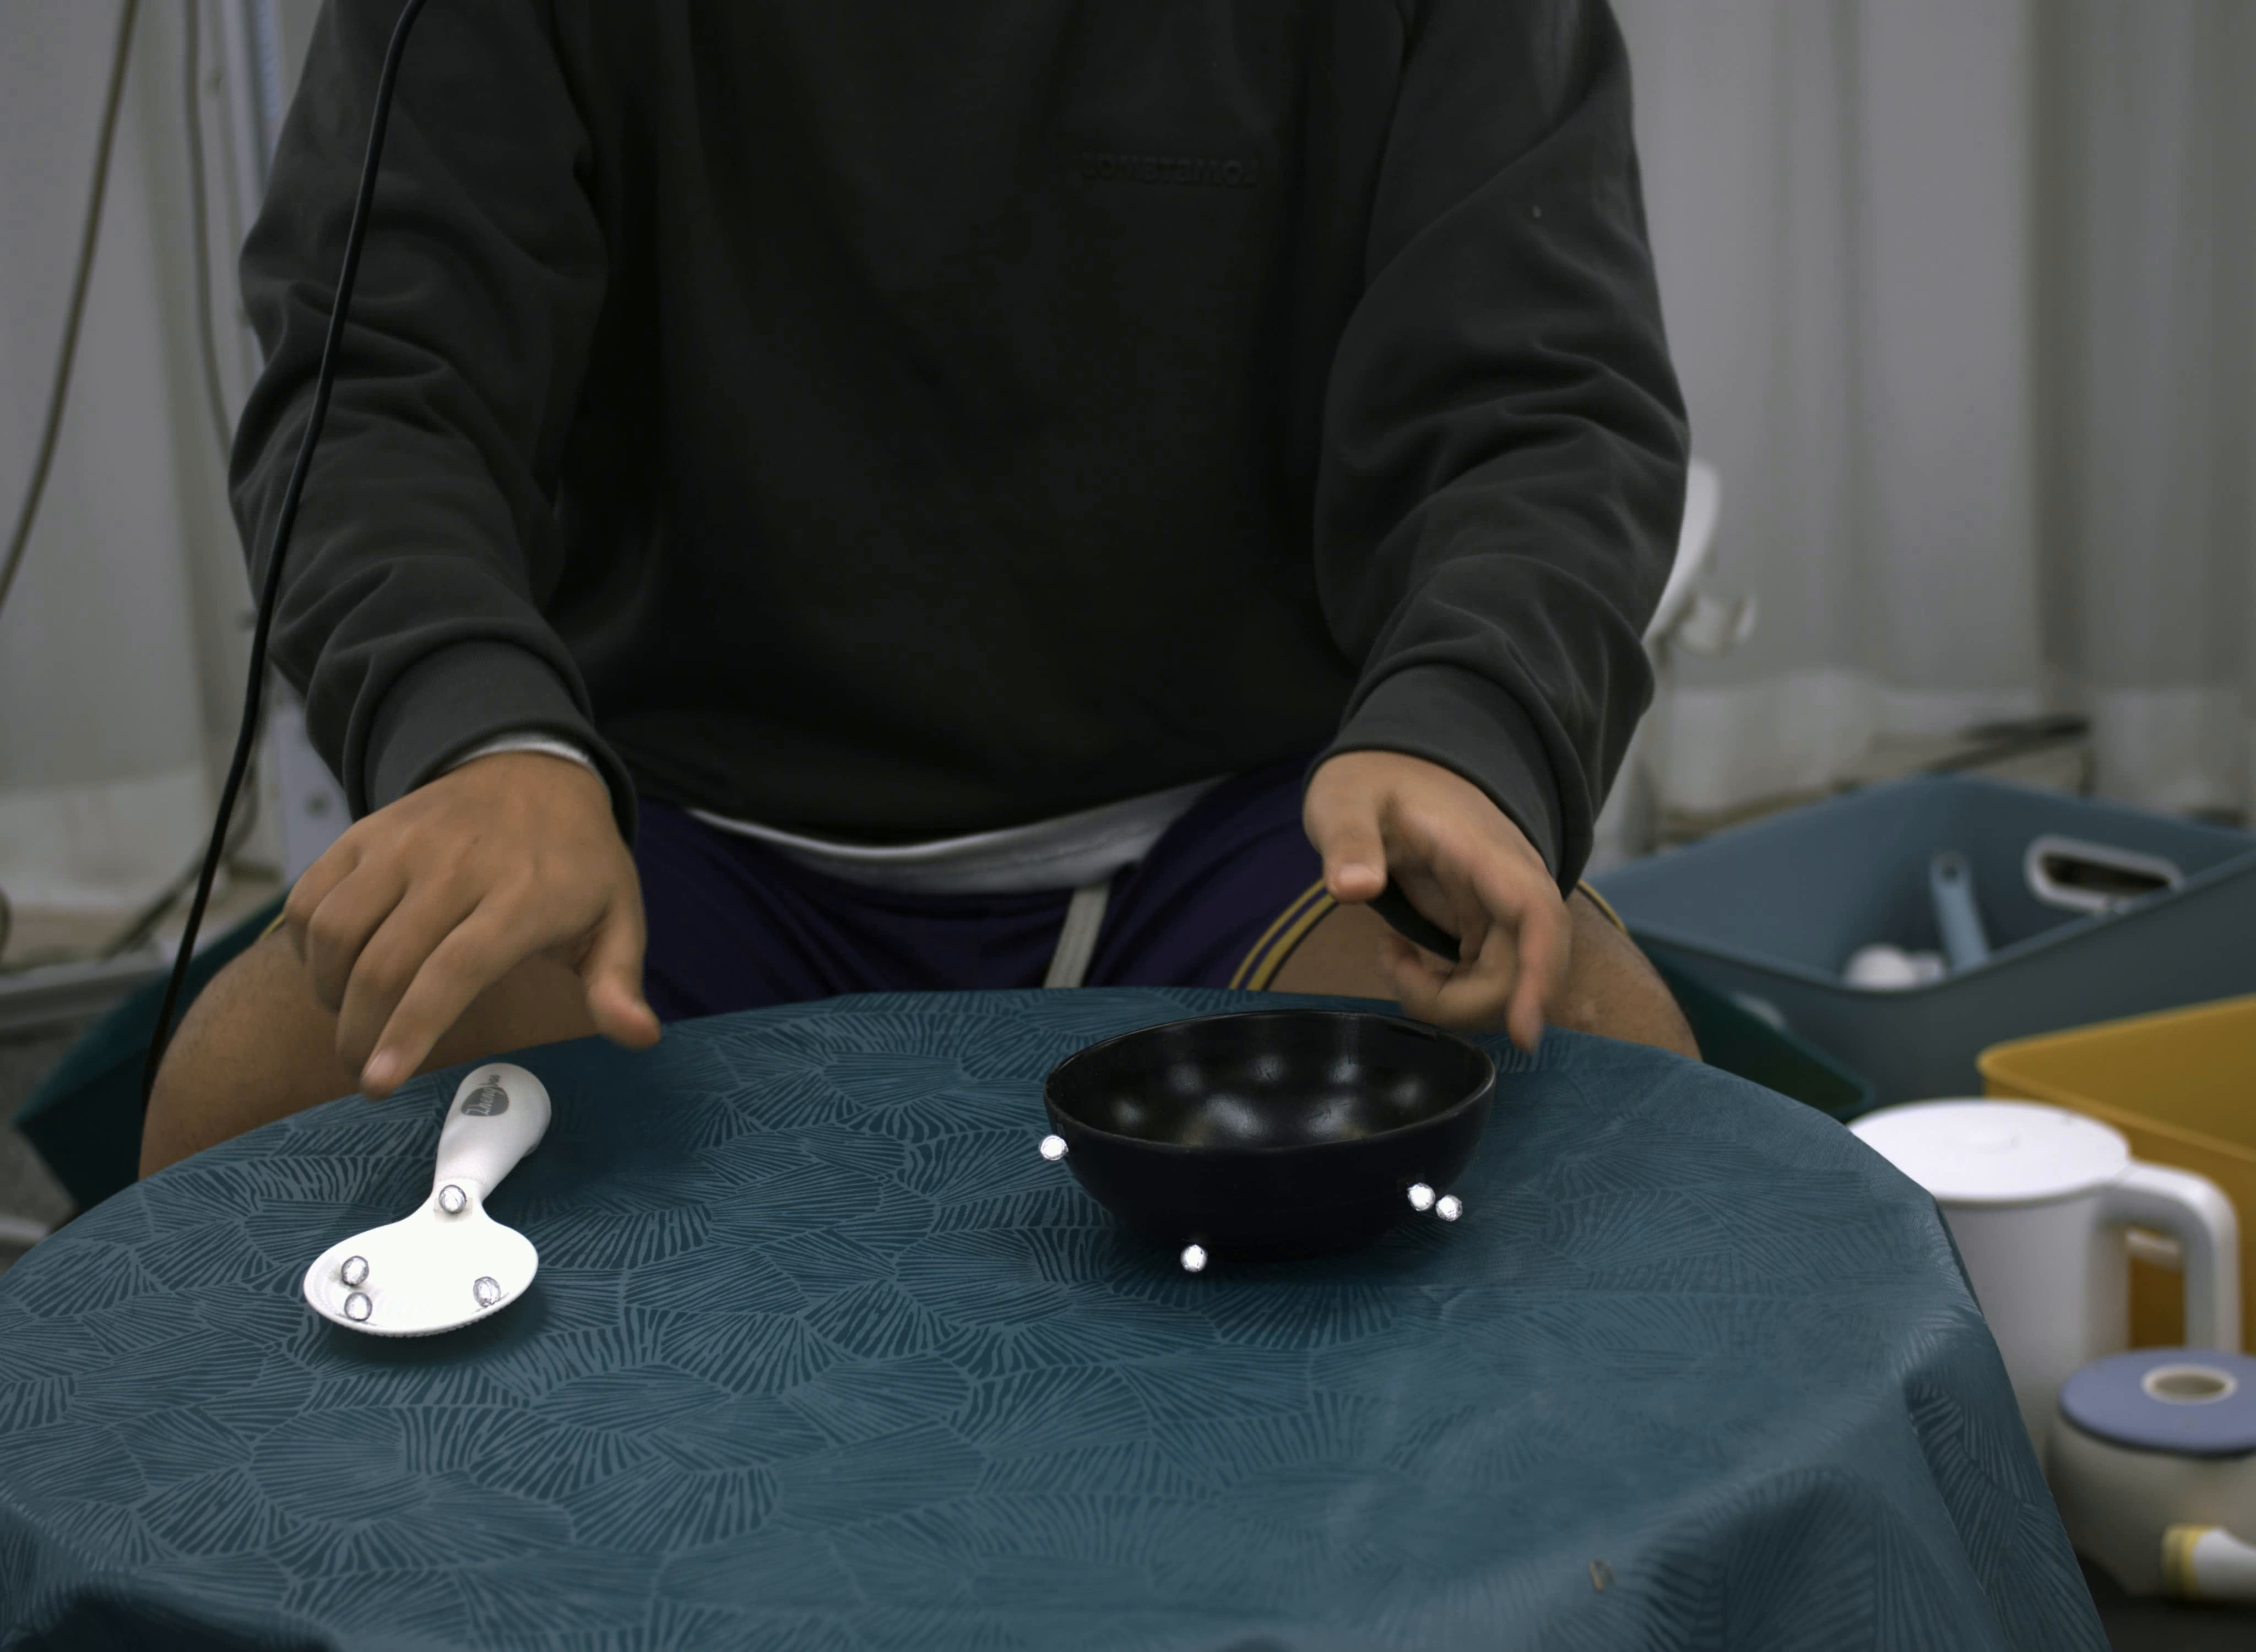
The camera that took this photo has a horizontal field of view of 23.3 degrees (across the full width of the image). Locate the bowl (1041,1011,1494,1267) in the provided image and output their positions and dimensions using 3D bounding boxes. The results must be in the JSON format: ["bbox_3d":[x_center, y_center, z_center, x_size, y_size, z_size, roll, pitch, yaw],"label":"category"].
[{"bbox_3d":[0.044,0.100,1.671,0.139,0.049,0.141,-4,14,1],"label":"bowl"}]

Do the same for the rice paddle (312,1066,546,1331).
[{"bbox_3d":[-0.207,0.117,1.689,0.068,0.029,0.206,-1,14,2],"label":"rice paddle"}]
